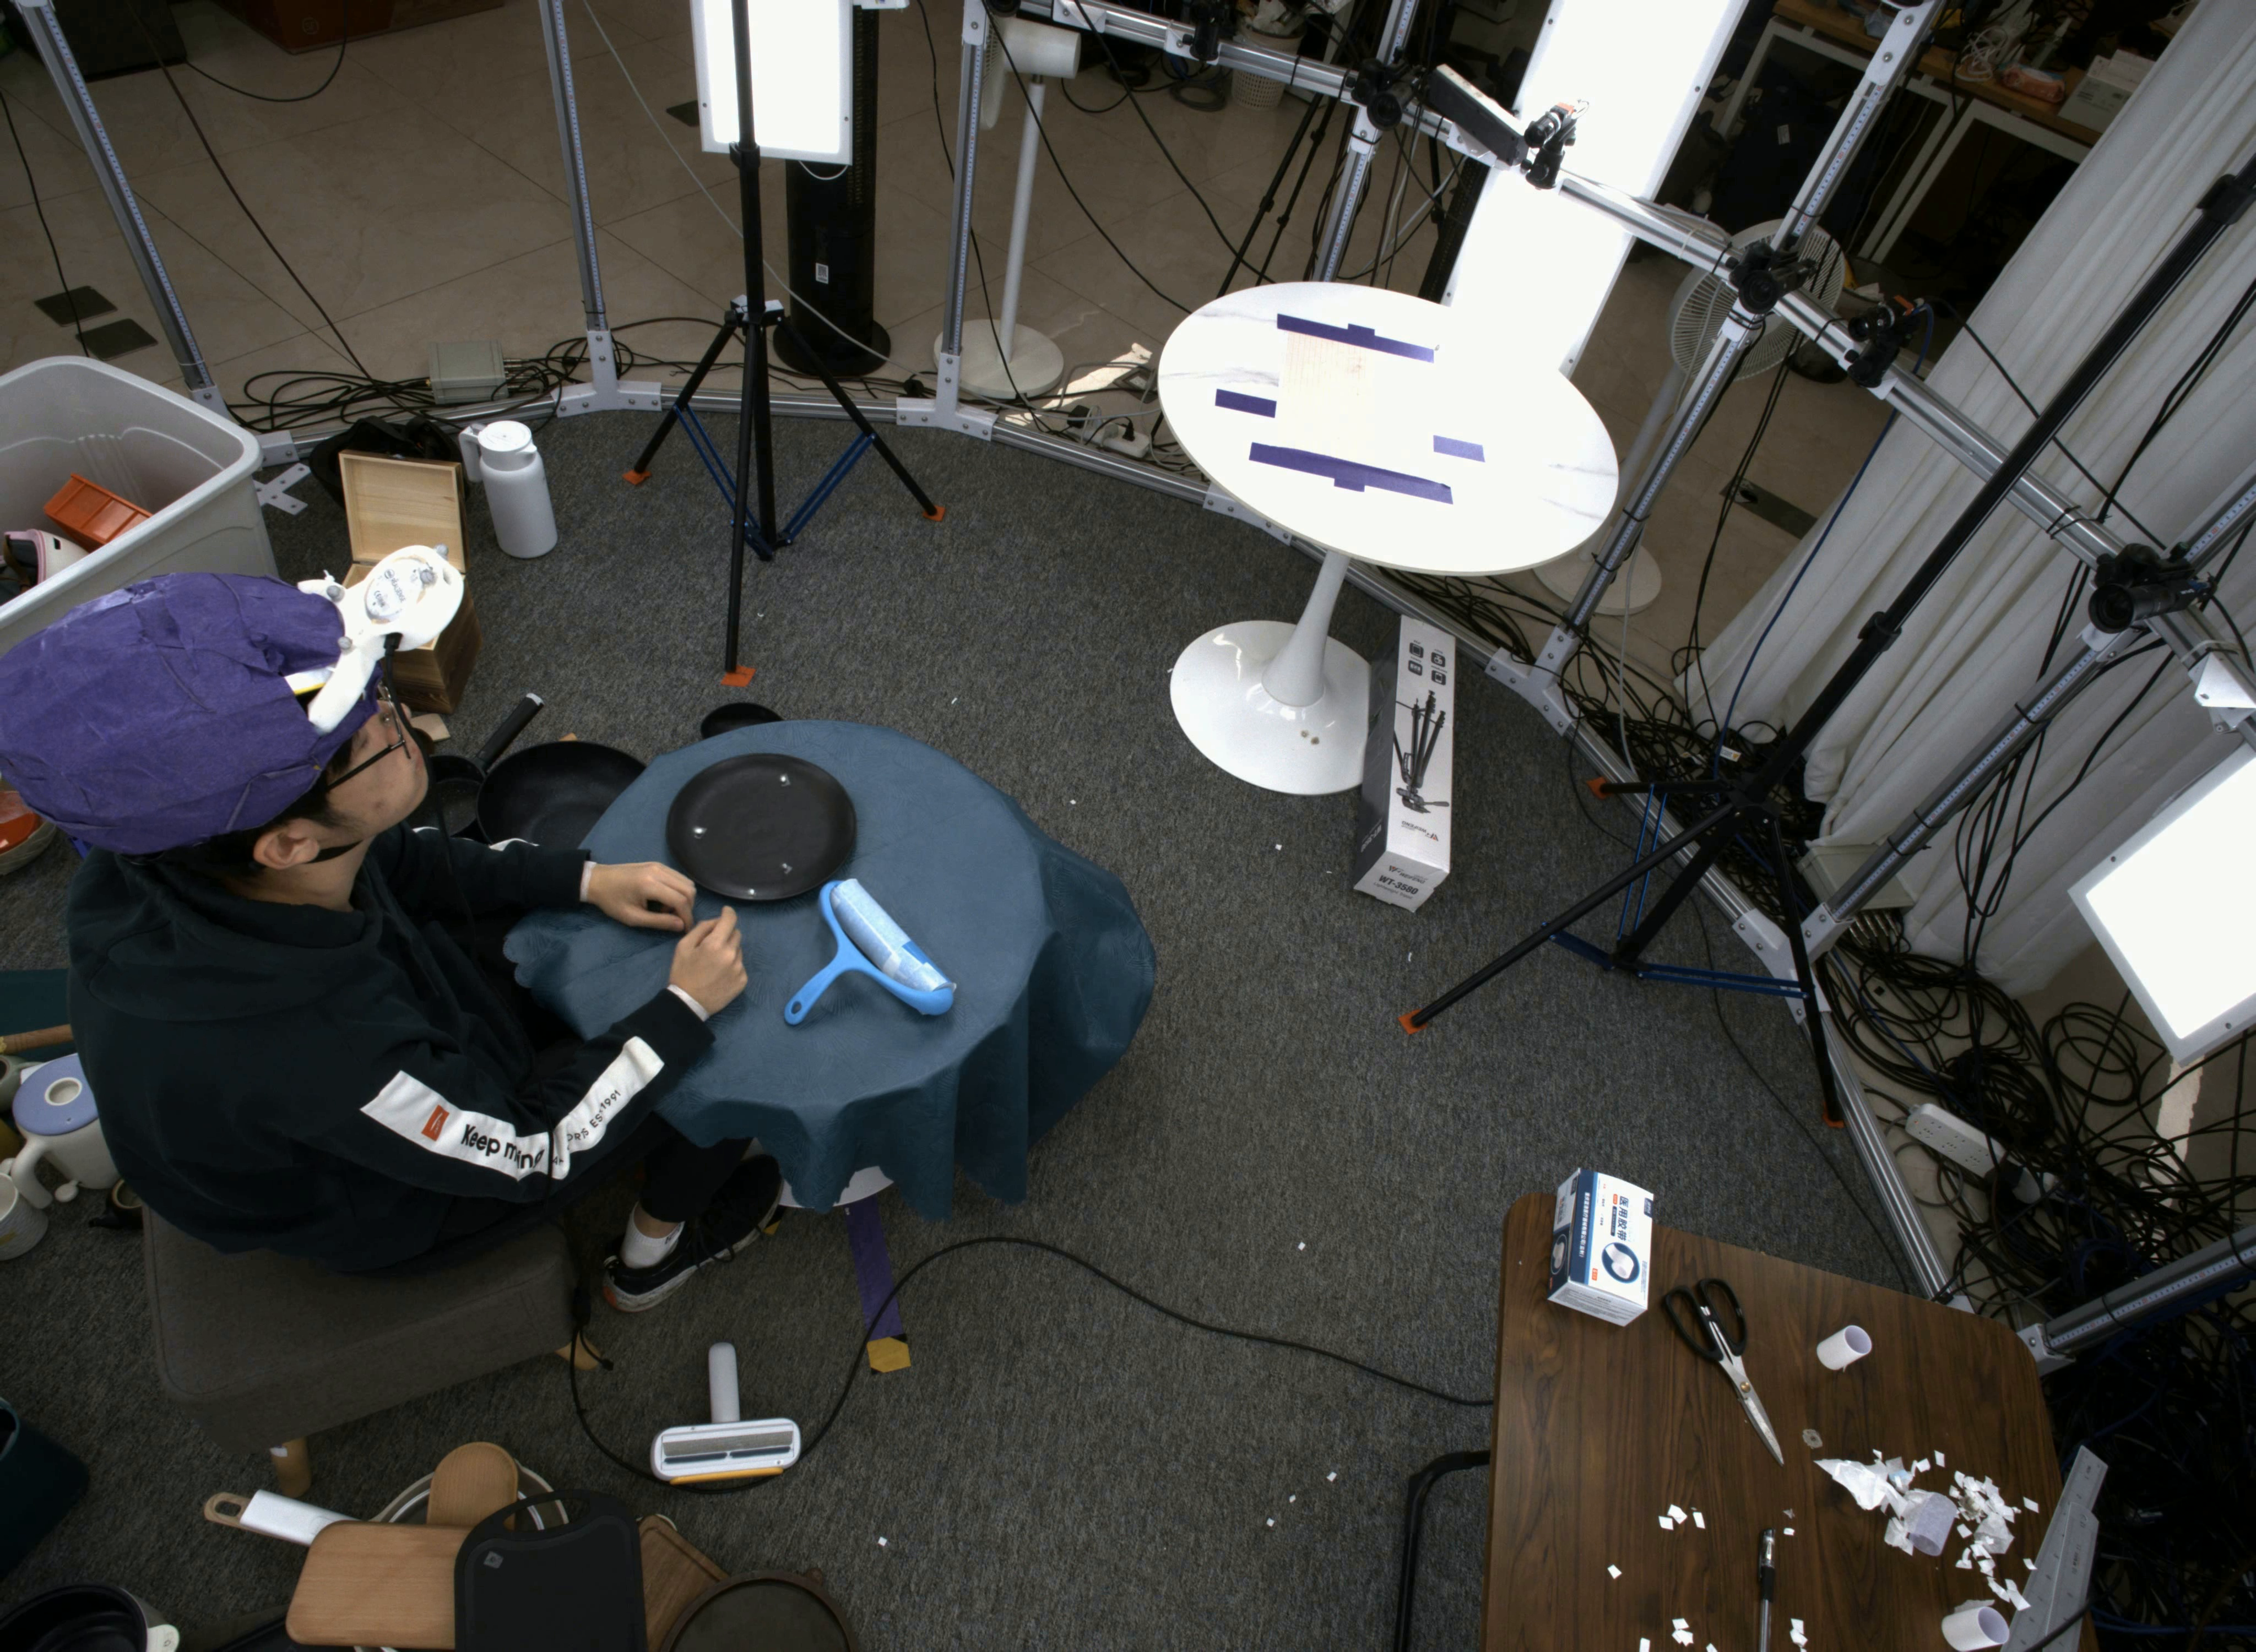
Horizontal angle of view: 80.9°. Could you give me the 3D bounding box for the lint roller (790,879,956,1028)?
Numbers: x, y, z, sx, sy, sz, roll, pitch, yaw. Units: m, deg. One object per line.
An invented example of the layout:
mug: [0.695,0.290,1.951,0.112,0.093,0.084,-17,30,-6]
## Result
lint roller: [-0.337,0.175,1.588,0.224,0.069,0.180,41,56,16]

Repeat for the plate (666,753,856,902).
plate: [-0.480,0.002,1.699,0.244,0.024,0.240,8,53,-9]
